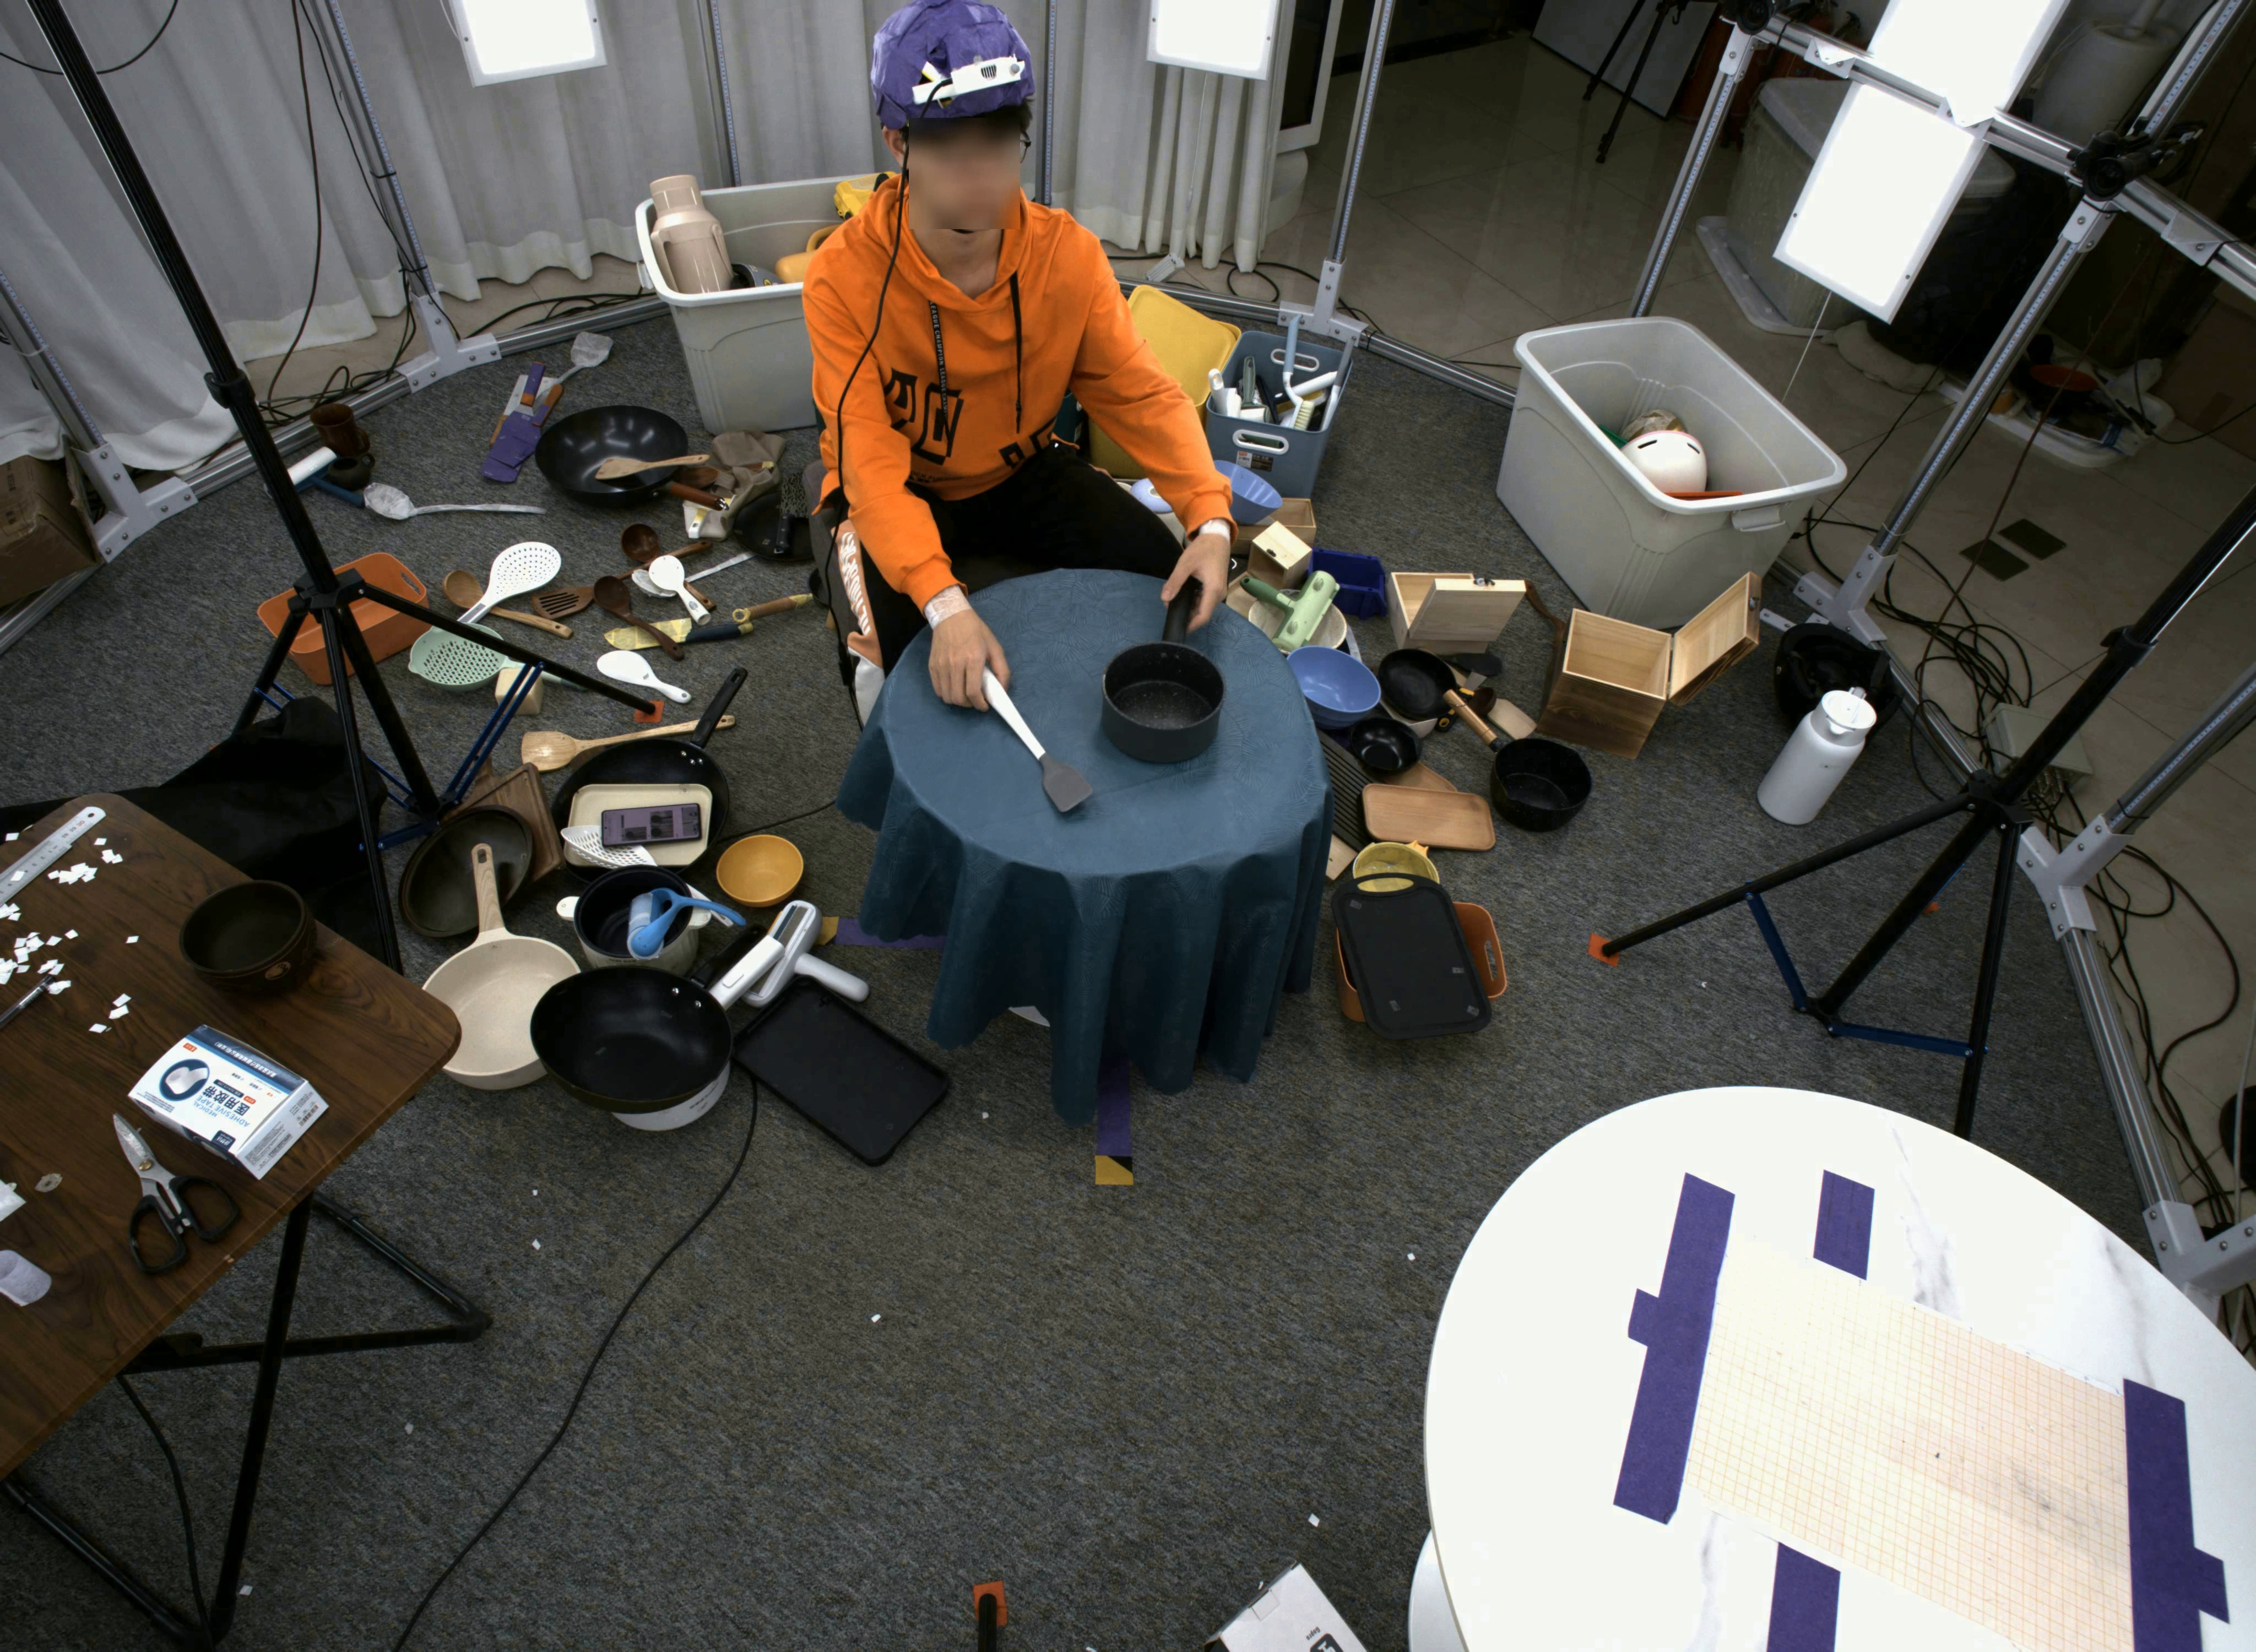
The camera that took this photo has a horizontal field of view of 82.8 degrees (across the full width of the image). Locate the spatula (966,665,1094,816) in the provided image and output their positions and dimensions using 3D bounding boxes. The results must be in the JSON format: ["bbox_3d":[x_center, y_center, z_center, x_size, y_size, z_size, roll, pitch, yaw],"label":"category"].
[{"bbox_3d":[-0.137,-0.120,1.742,0.059,0.031,0.293,-34,58,-7],"label":"spatula"}]

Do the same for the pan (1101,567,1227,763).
[{"bbox_3d":[0.062,-0.232,1.820,0.172,0.084,0.336,11,51,4],"label":"pan"}]
